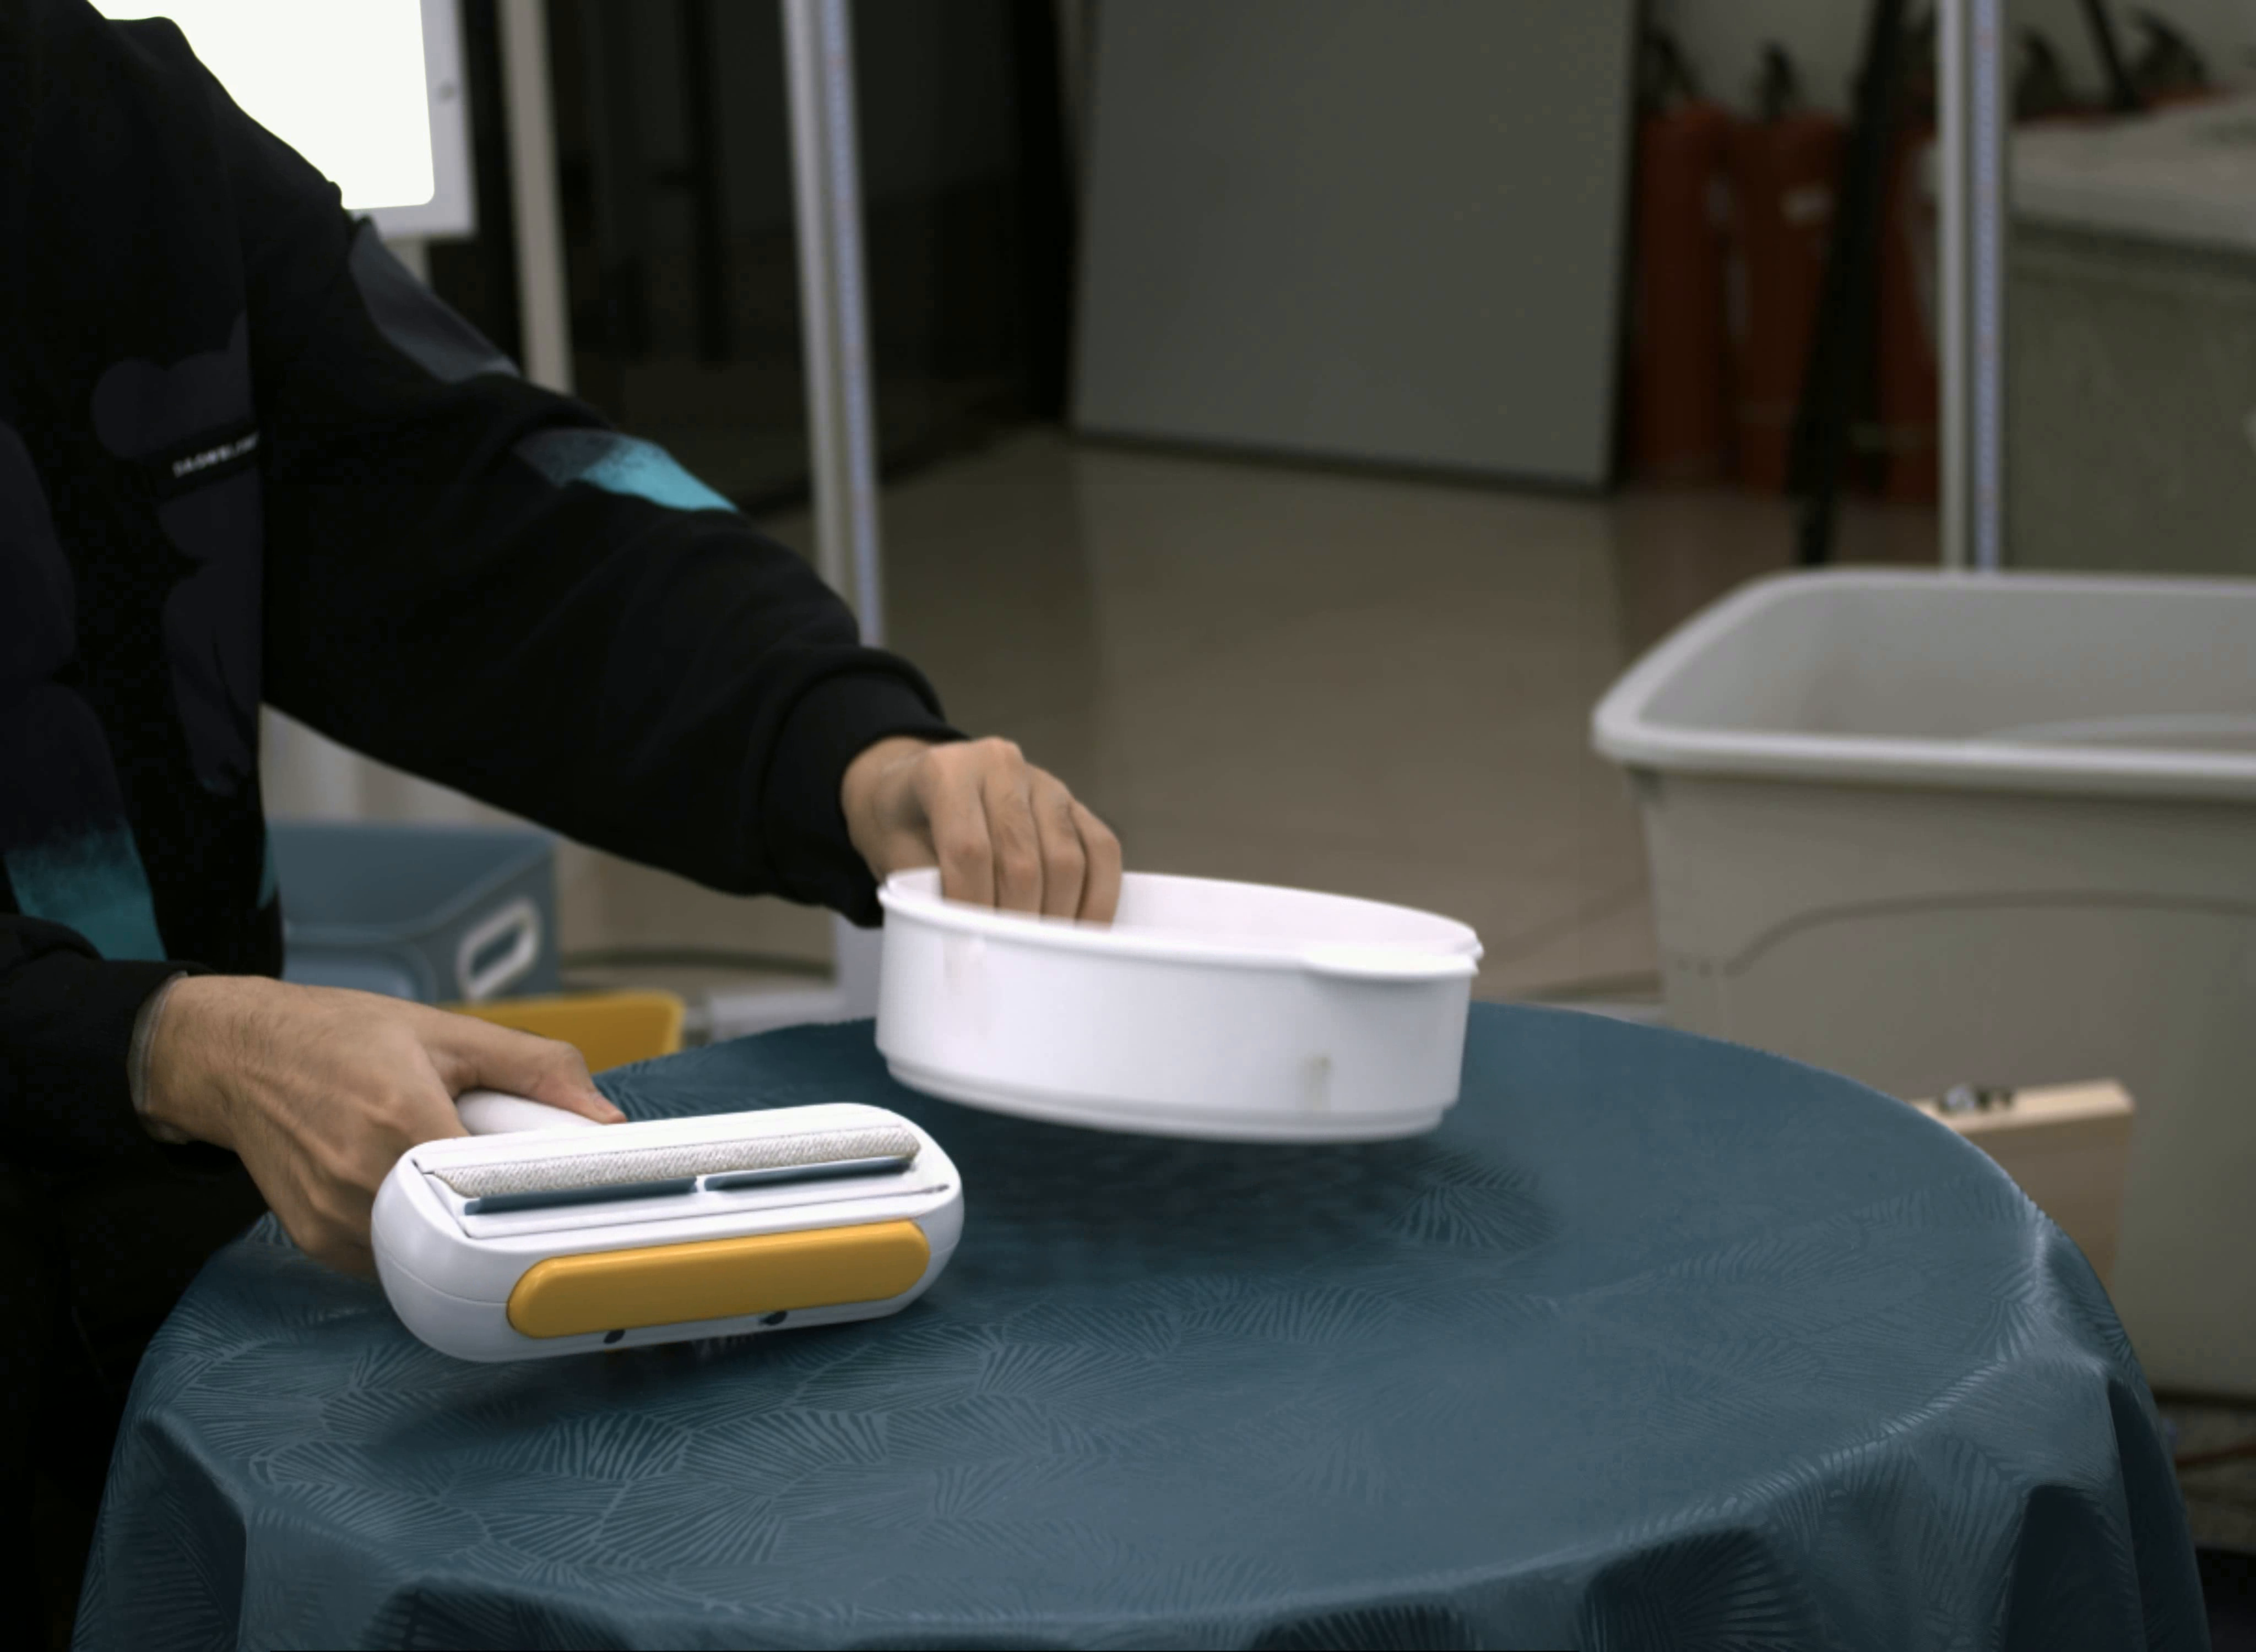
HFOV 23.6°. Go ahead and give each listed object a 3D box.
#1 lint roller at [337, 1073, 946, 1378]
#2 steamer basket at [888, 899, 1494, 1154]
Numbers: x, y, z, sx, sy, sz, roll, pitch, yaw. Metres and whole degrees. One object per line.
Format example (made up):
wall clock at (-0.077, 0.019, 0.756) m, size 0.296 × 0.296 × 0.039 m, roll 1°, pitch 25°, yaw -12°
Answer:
lint roller at (-0.173, 0.108, 1.684) m, size 0.188 × 0.075 × 0.194 m, roll -6°, pitch 25°, yaw -28°
steamer basket at (0.019, 0.066, 1.764) m, size 0.197 × 0.070 × 0.233 m, roll 2°, pitch 3°, yaw -43°
